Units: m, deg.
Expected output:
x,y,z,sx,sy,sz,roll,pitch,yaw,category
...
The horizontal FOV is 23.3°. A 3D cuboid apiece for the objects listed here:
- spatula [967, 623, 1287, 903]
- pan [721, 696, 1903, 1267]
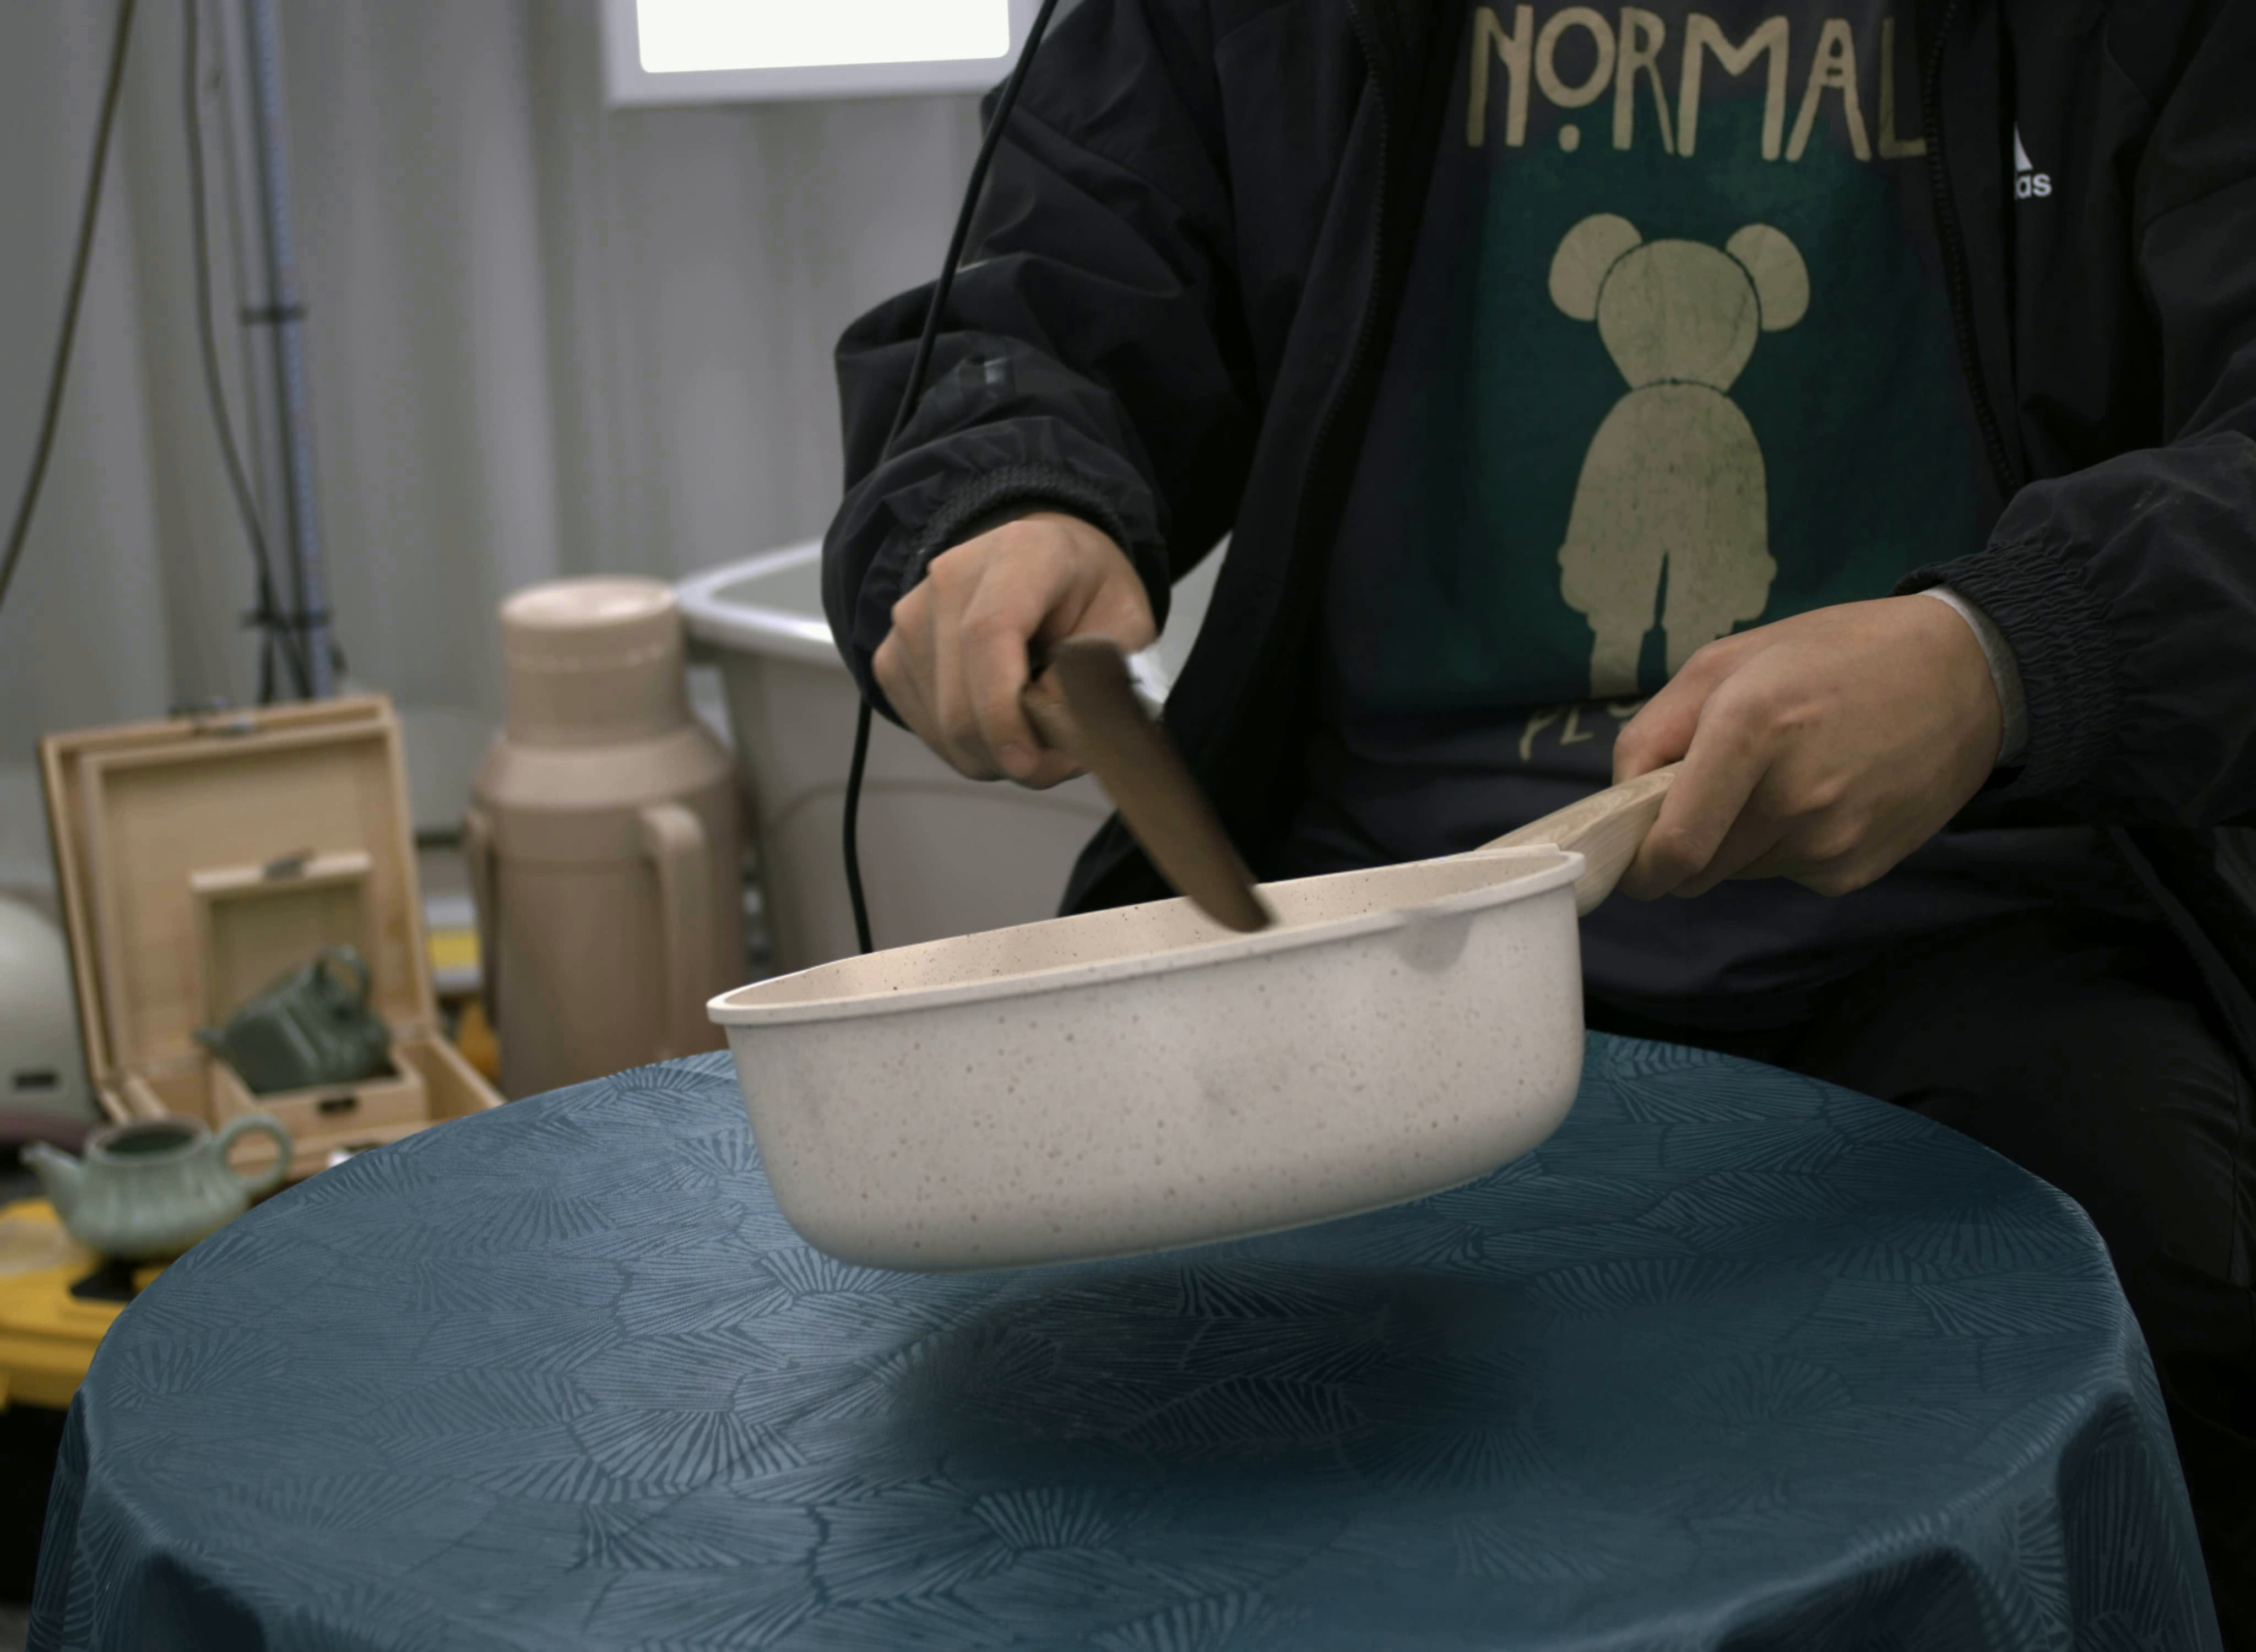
x,y,z,sx,sy,sz,roll,pitch,yaw,category
-0.011,-0.030,1.647,0.016,0.096,0.387,-30,11,-6,spatula
0.084,0.043,1.595,0.433,0.102,0.263,-12,1,-39,pan
